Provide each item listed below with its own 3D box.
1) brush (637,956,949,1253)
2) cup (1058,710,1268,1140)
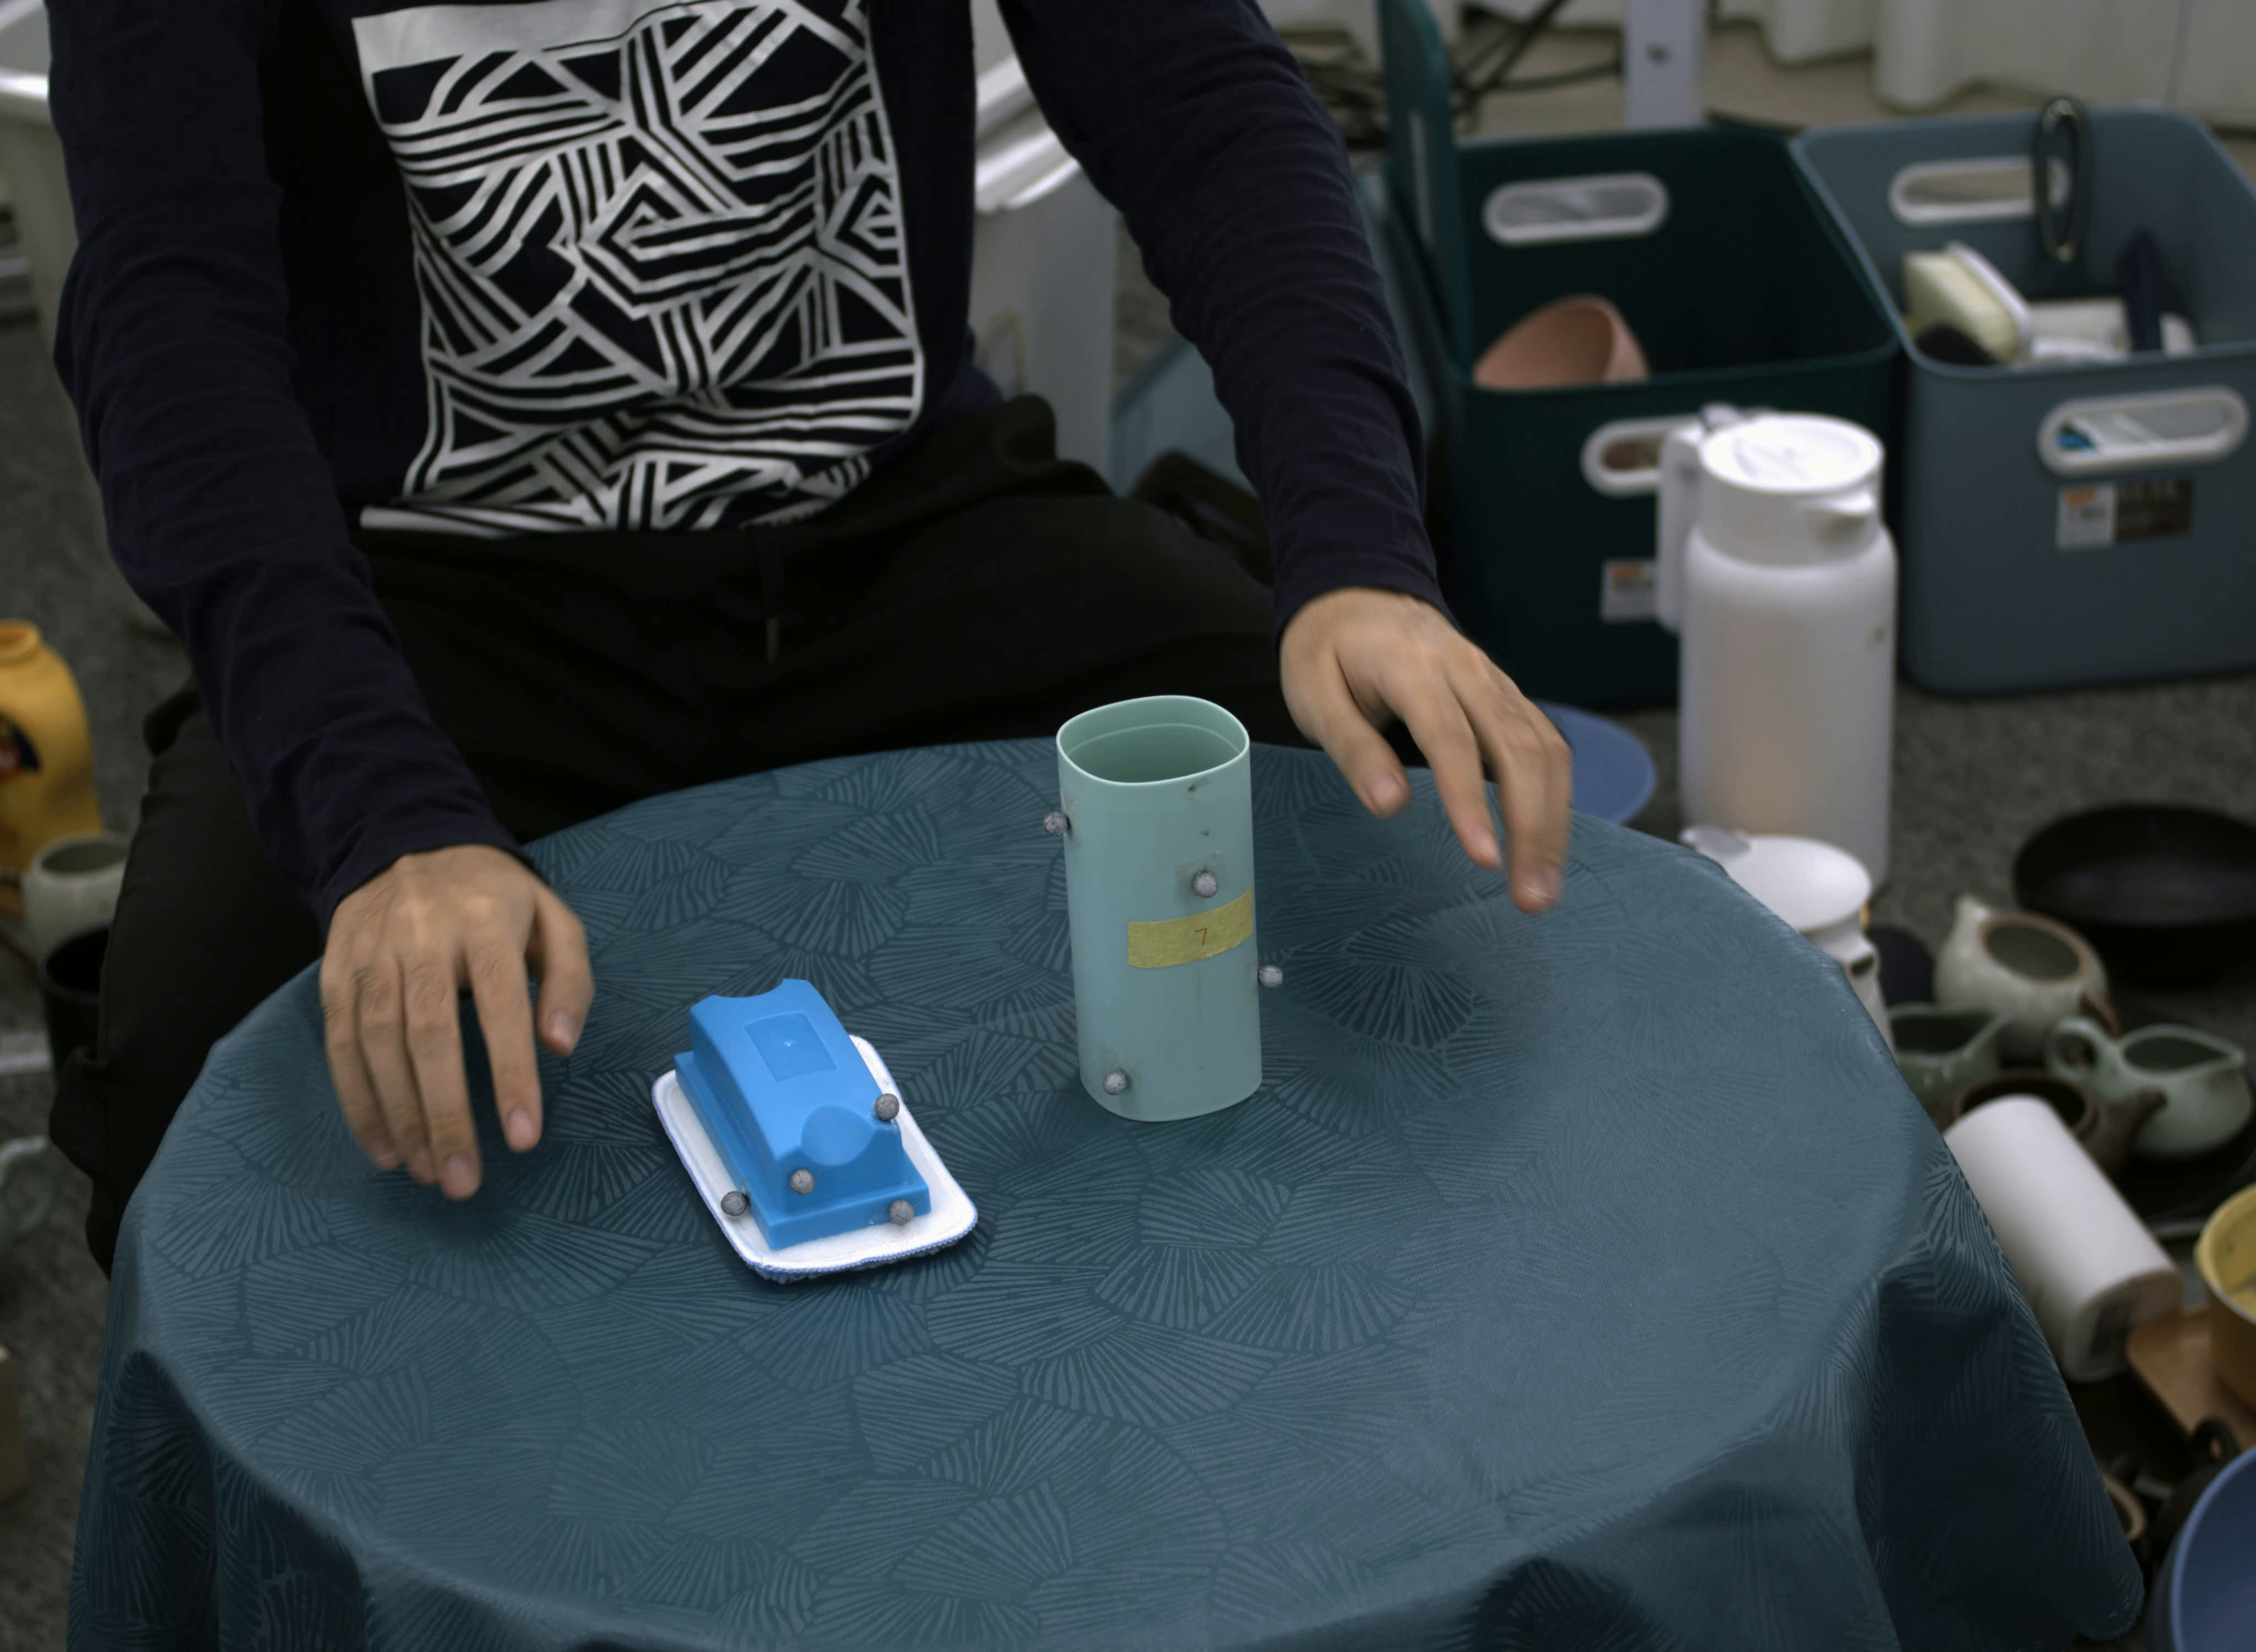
[{"bbox_3d":[-0.111,0.088,1.869,0.084,0.055,0.145,-8,30,-15],"label":"brush"},{"bbox_3d":[0.012,0.033,1.900,0.066,0.131,0.068,-3,26,2],"label":"cup"}]
